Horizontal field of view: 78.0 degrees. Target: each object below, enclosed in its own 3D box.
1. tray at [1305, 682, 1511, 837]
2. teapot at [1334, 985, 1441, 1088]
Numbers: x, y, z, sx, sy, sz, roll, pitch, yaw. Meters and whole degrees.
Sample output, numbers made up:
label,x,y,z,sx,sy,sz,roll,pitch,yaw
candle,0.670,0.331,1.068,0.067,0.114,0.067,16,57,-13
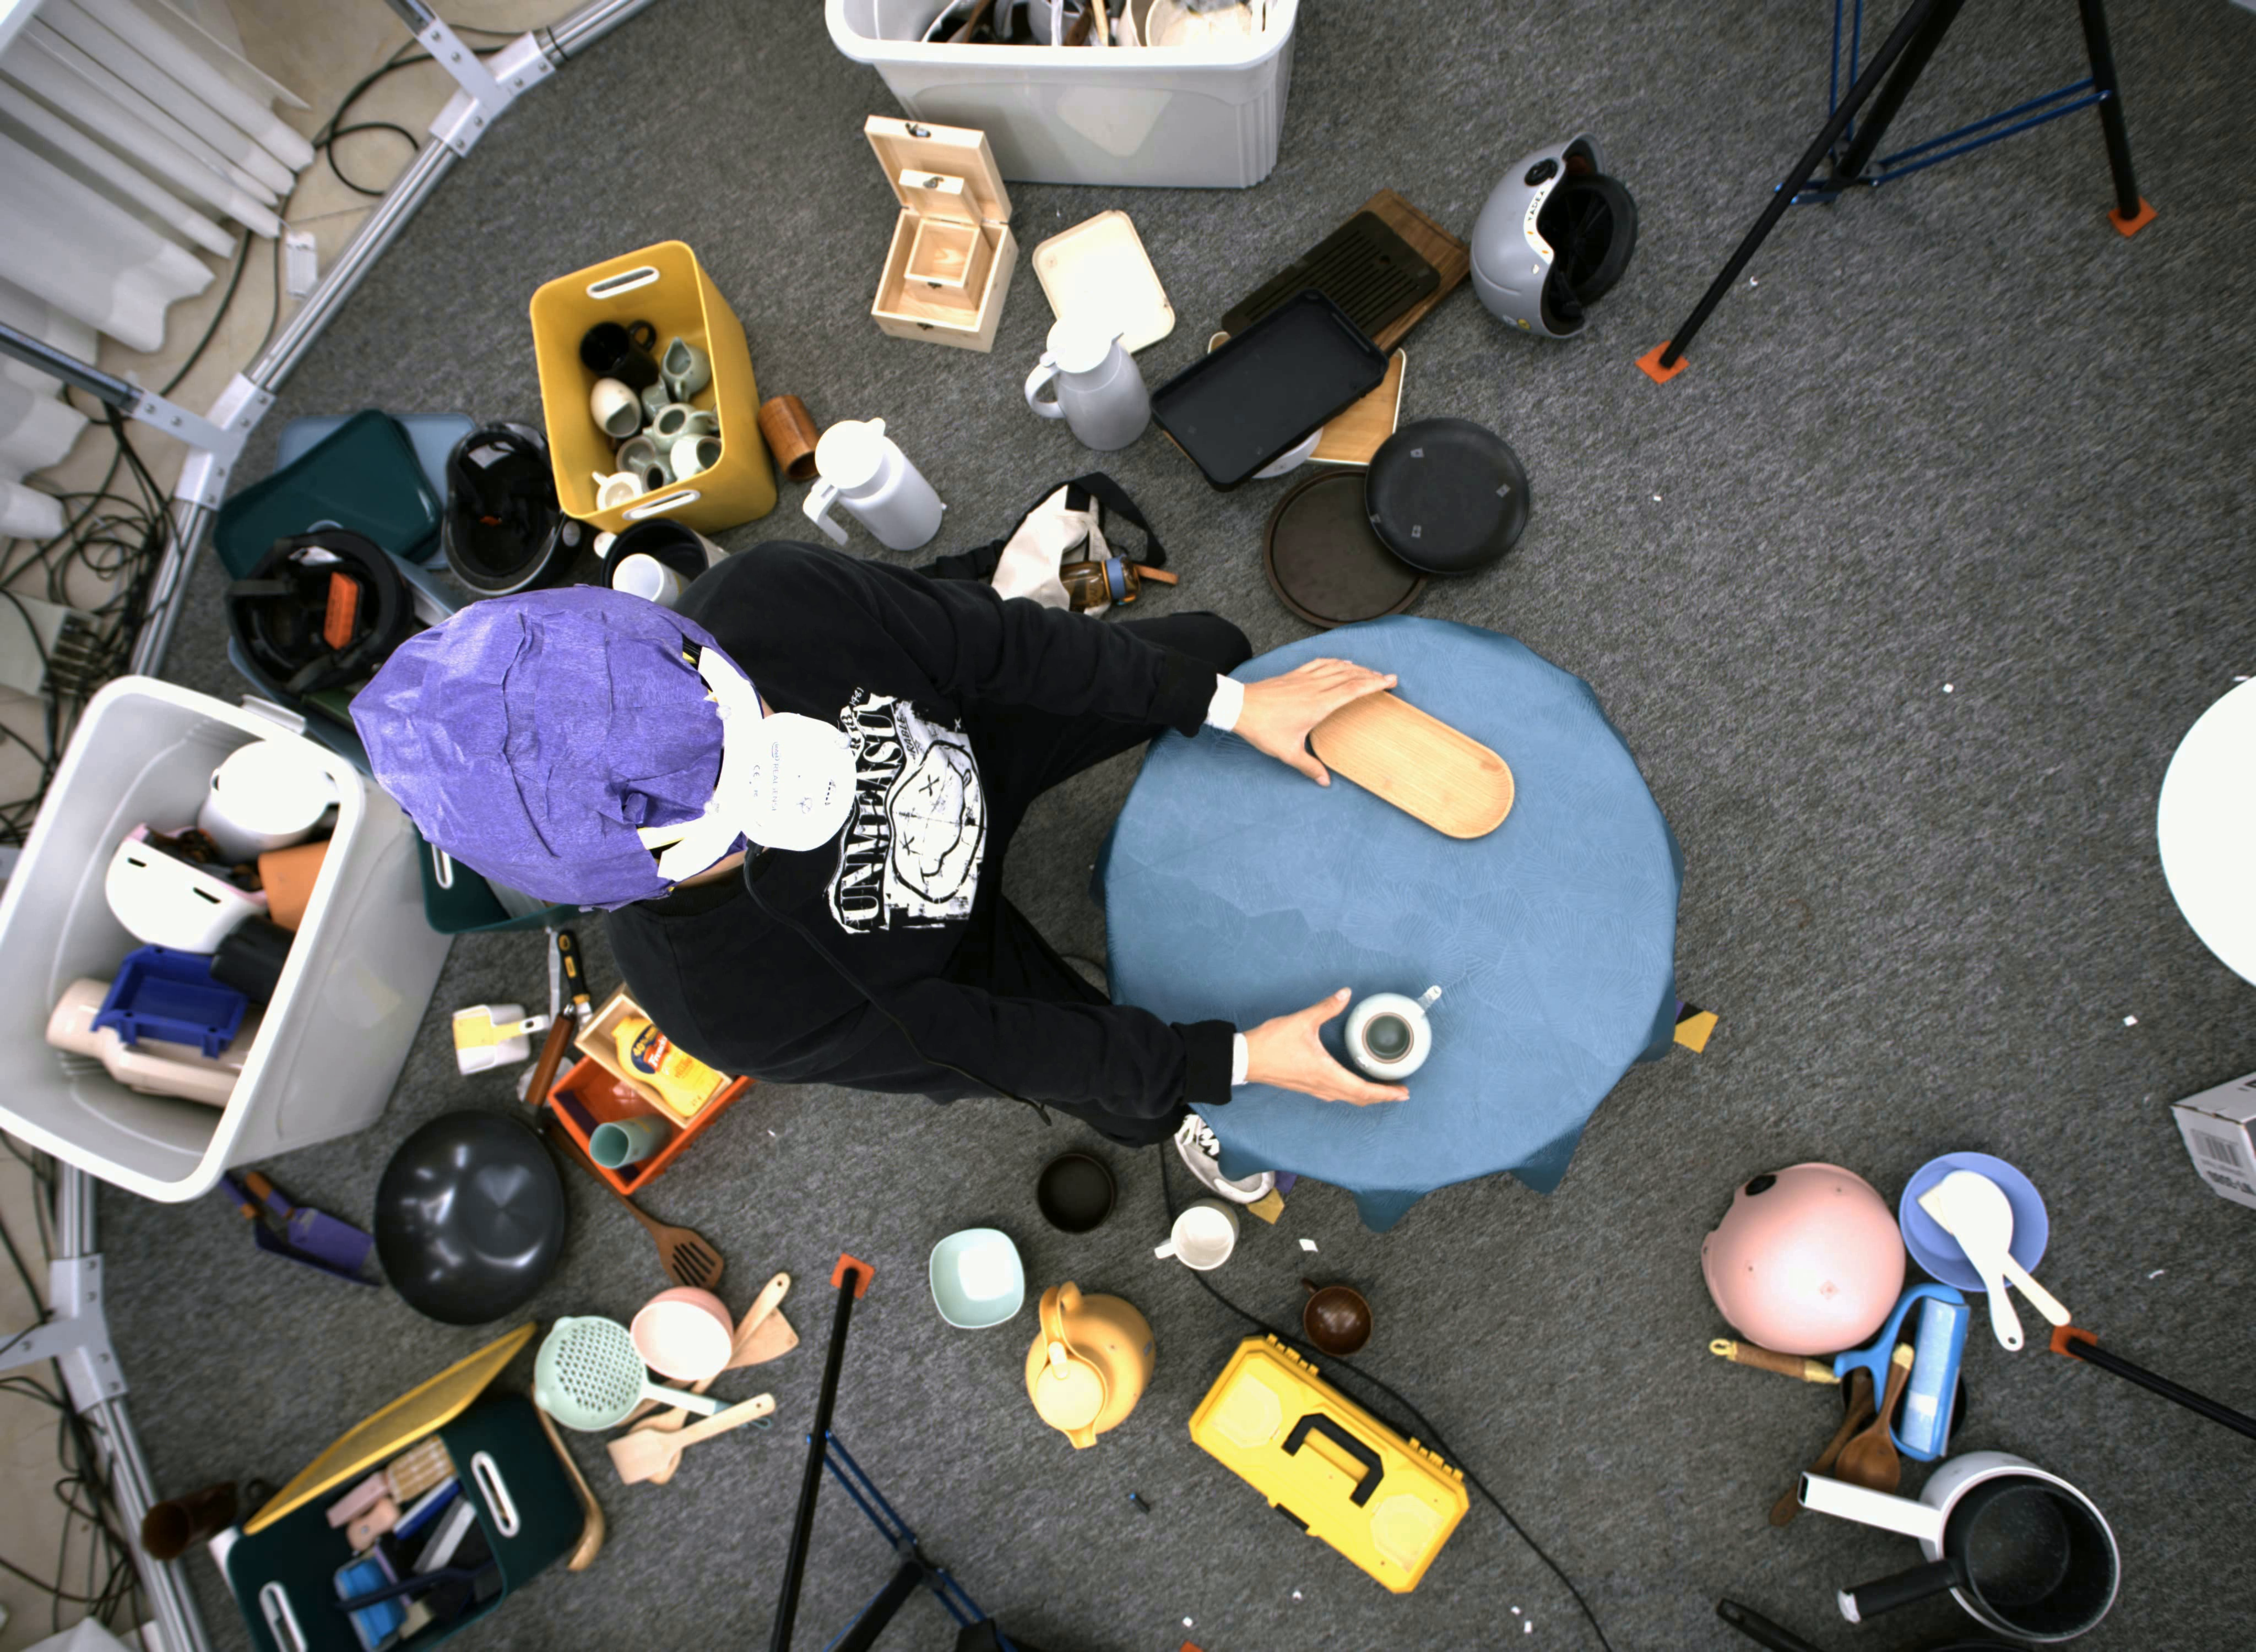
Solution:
label,x,y,z,sx,sy,sz,roll,pitch,yaw
tray,0.295,-0.072,1.455,0.230,0.020,0.102,30,92,12
teapot,0.266,0.213,1.419,0.144,0.075,0.088,-43,80,4
